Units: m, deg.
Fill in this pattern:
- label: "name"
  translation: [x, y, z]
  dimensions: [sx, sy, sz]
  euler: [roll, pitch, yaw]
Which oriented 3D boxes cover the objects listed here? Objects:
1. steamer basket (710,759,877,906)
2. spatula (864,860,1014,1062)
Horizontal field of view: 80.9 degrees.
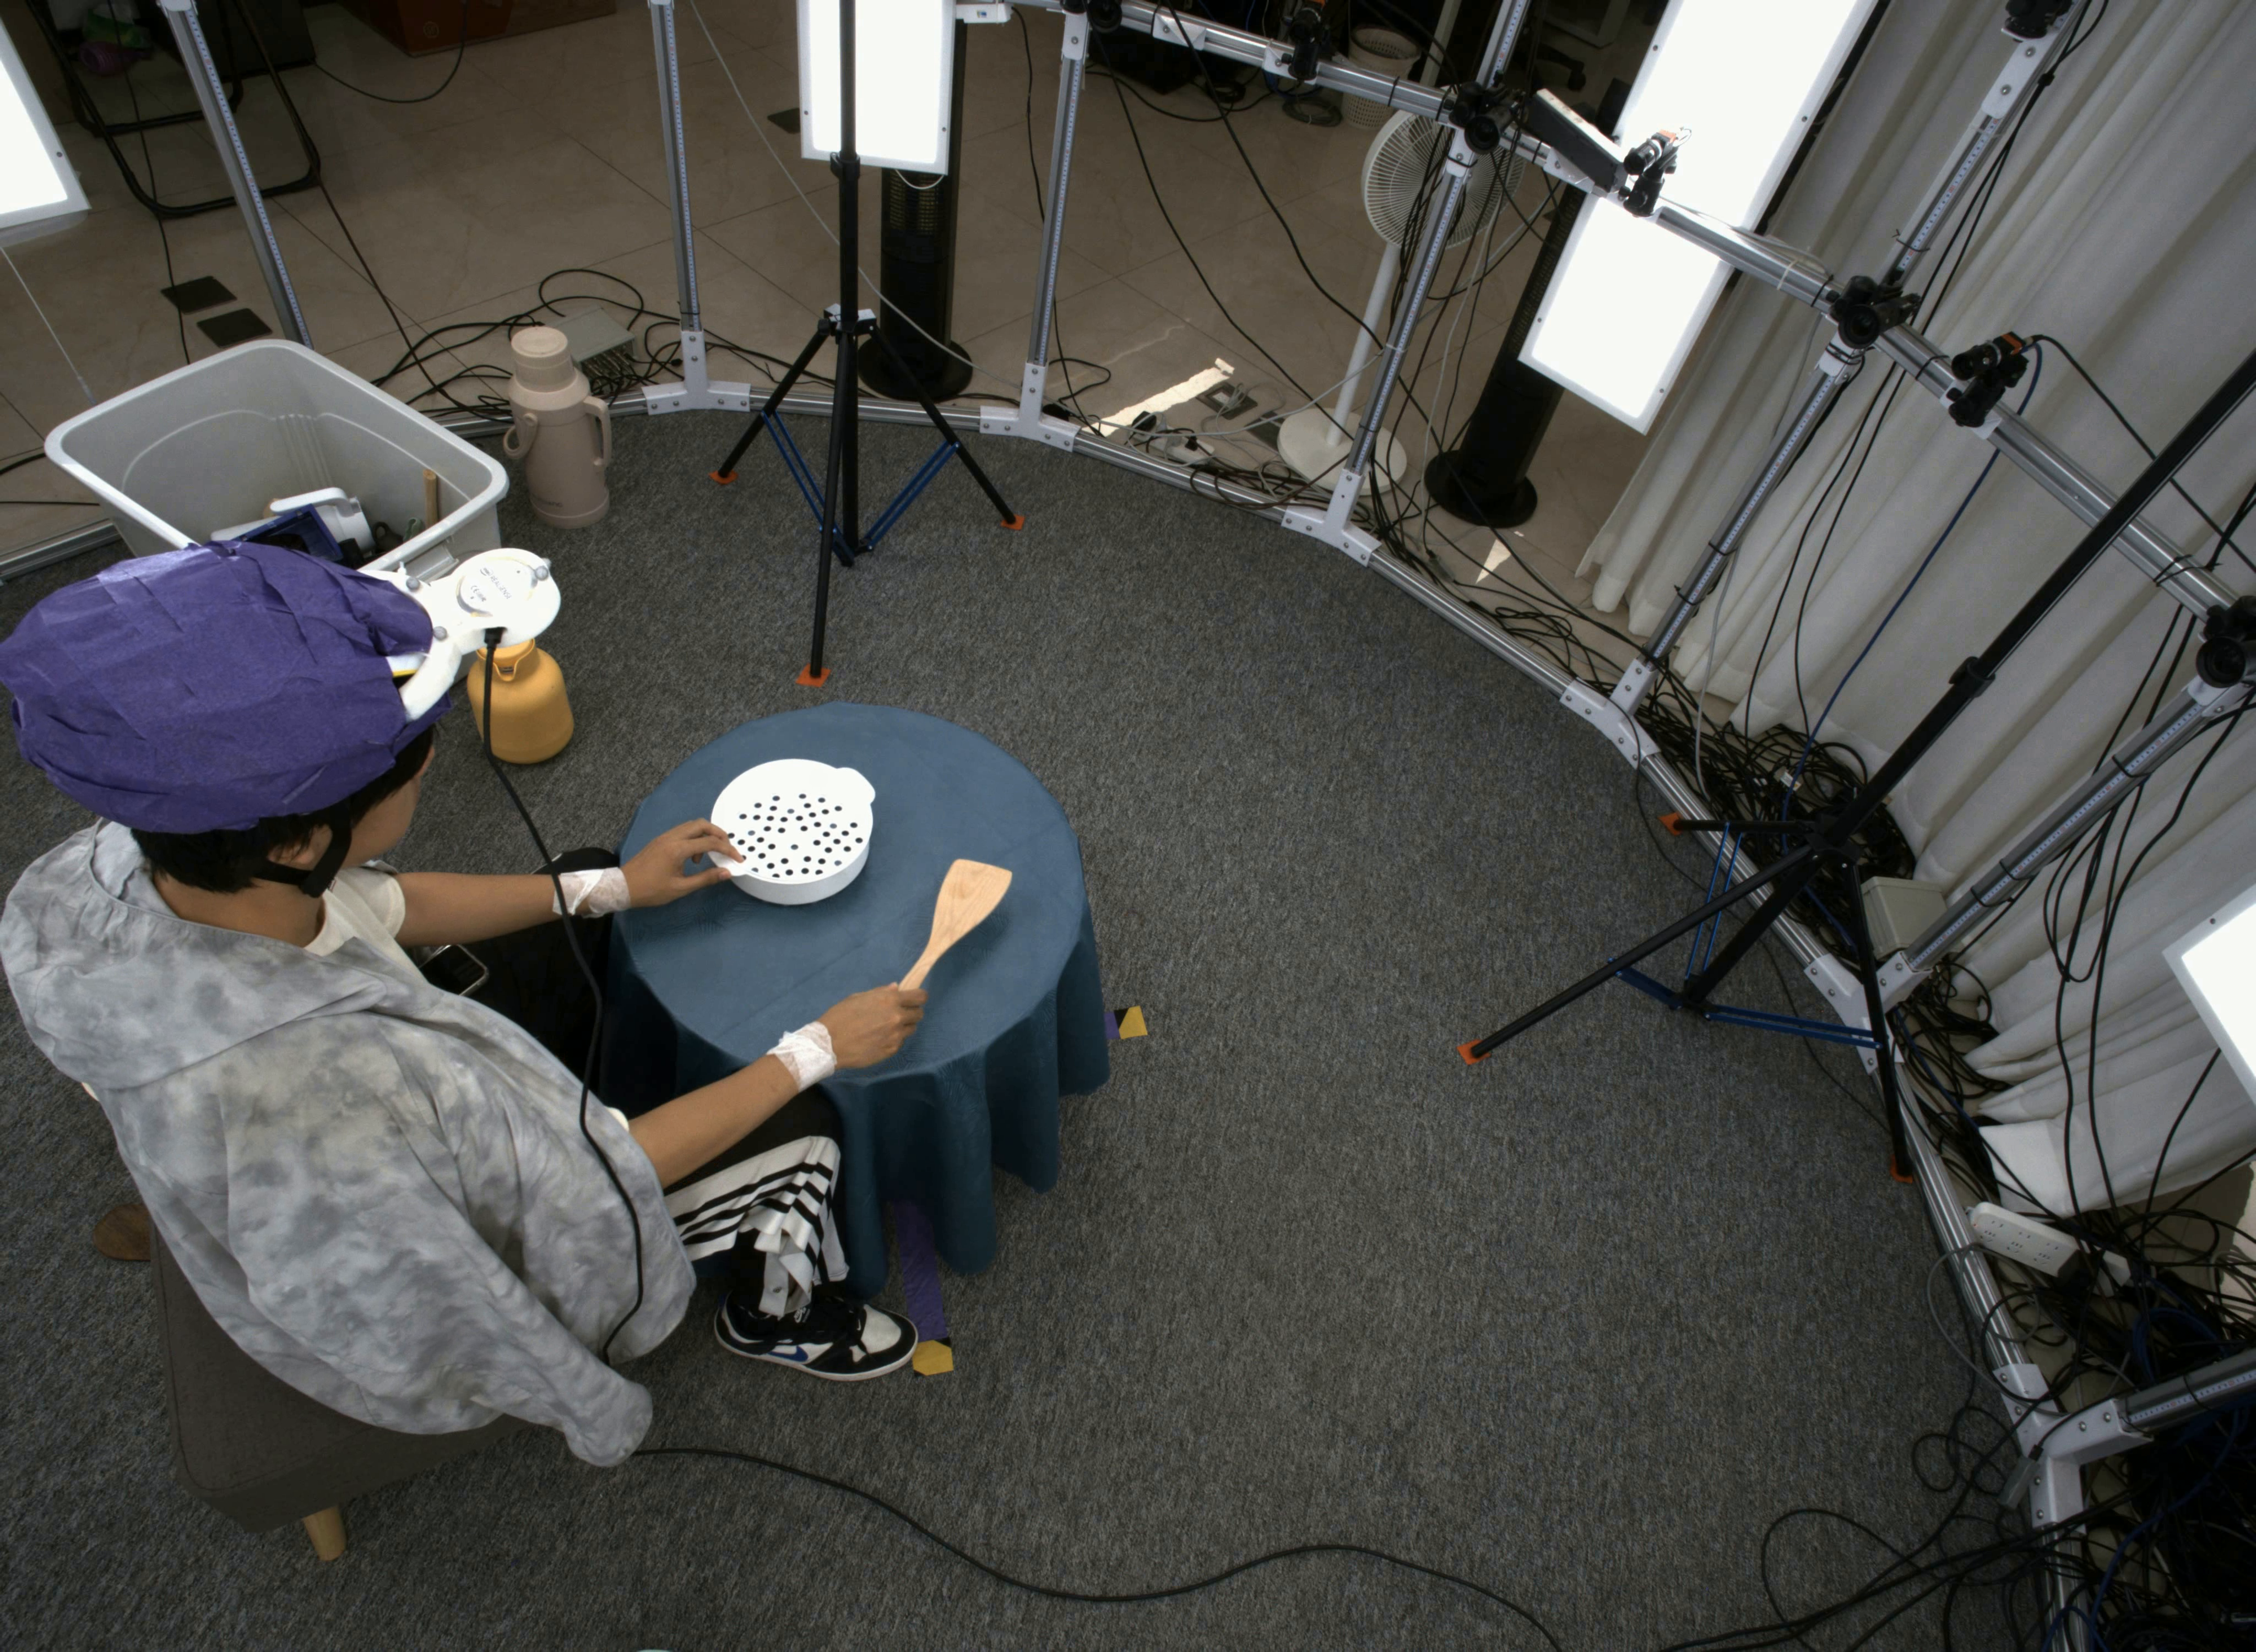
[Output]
- label: "steamer basket"
  translation: [-0.428, 0.009, 1.677]
  dimensions: [0.231, 0.071, 0.197]
  euler: [-34, 66, -31]
- label: "spatula"
  translation: [-0.235, 0.154, 1.569]
  dimensions: [0.079, 0.017, 0.325]
  euler: [22, 46, 6]
